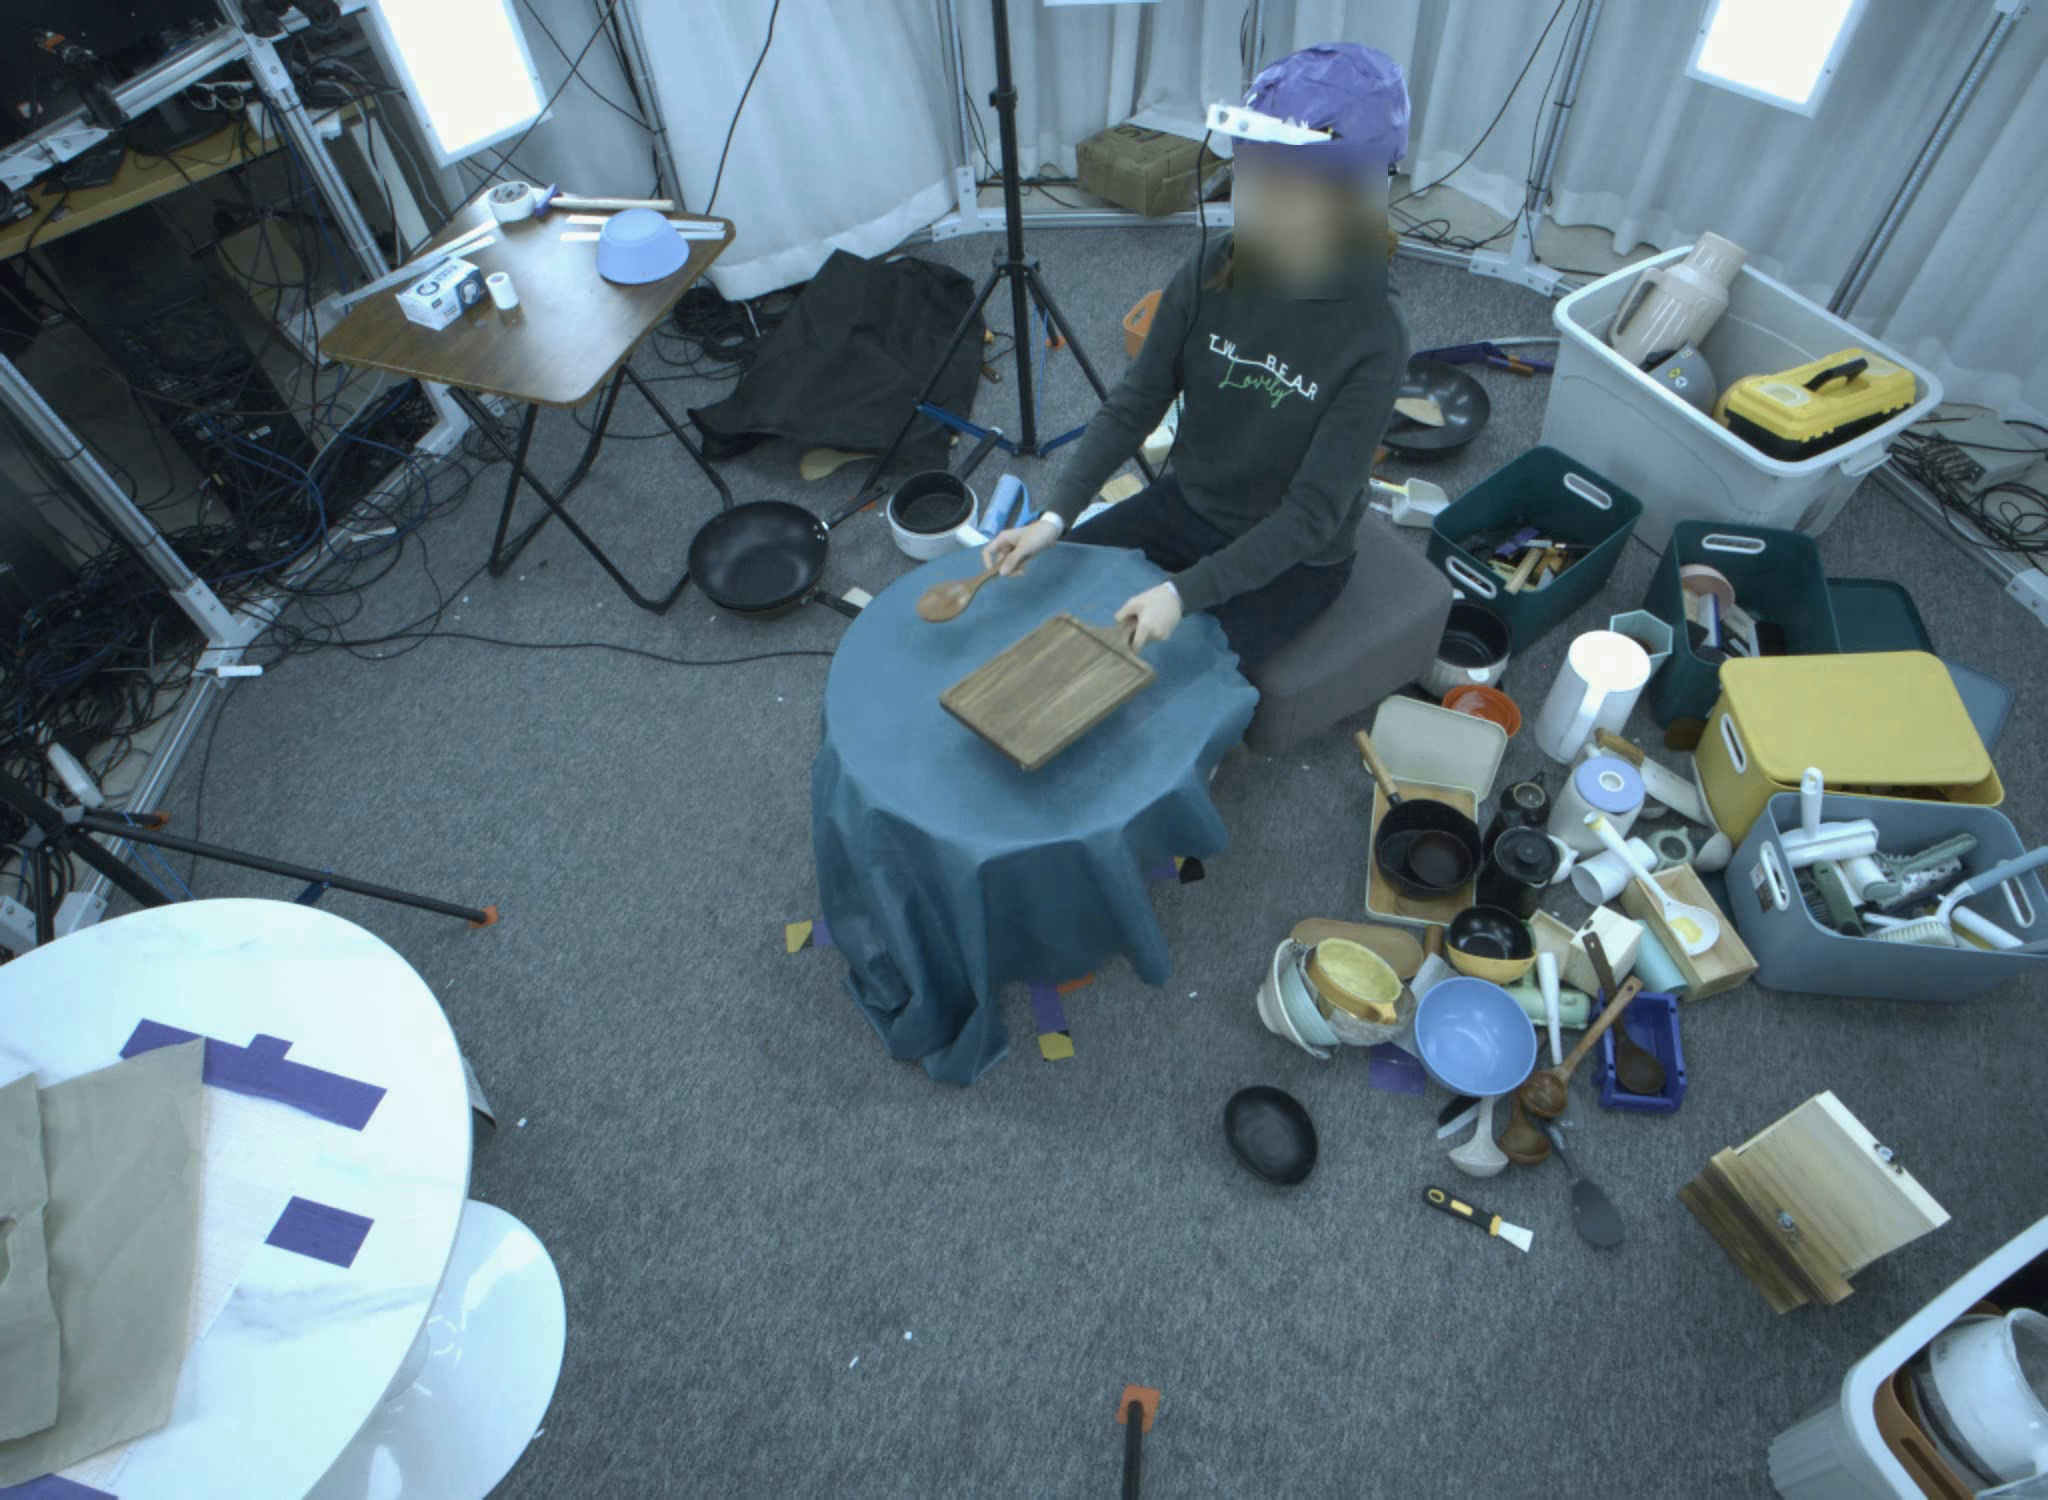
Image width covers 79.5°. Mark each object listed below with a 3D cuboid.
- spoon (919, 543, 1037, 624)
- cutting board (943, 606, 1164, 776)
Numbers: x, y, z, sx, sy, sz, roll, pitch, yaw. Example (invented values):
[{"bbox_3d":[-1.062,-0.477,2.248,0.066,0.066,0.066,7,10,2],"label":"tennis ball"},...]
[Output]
[{"bbox_3d":[-0.068,-0.256,1.891,0.217,0.017,0.074,-36,55,-17],"label":"spoon"},{"bbox_3d":[0.075,-0.109,1.766,0.355,0.023,0.197,-36,53,-25],"label":"cutting board"}]
